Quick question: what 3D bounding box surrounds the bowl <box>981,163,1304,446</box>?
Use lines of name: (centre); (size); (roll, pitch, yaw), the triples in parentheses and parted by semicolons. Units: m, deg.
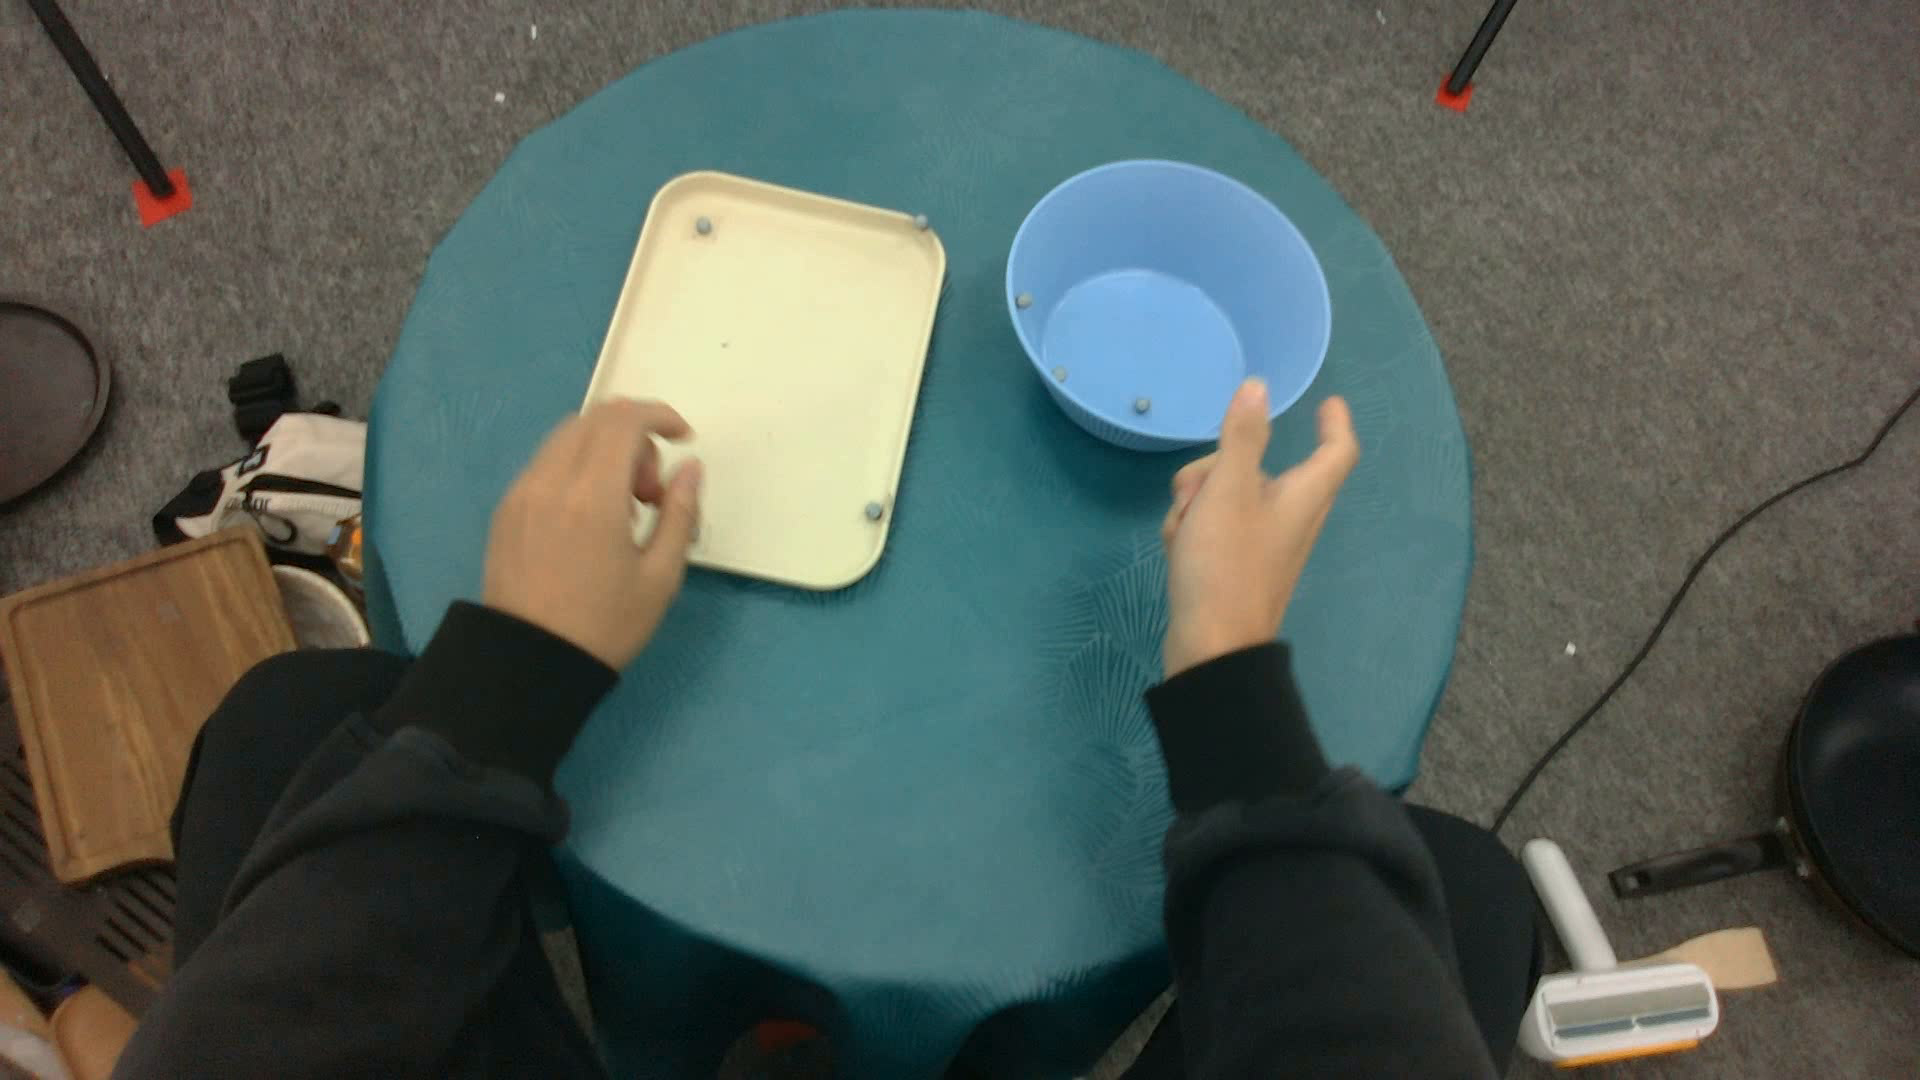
bowl: (0.095, -0.119, 0.764); (0.176, 0.070, 0.176); (3, 64, -6)

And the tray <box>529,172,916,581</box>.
tray: (-0.122, -0.093, 0.748); (0.171, 0.017, 0.240); (11, 63, -2)
